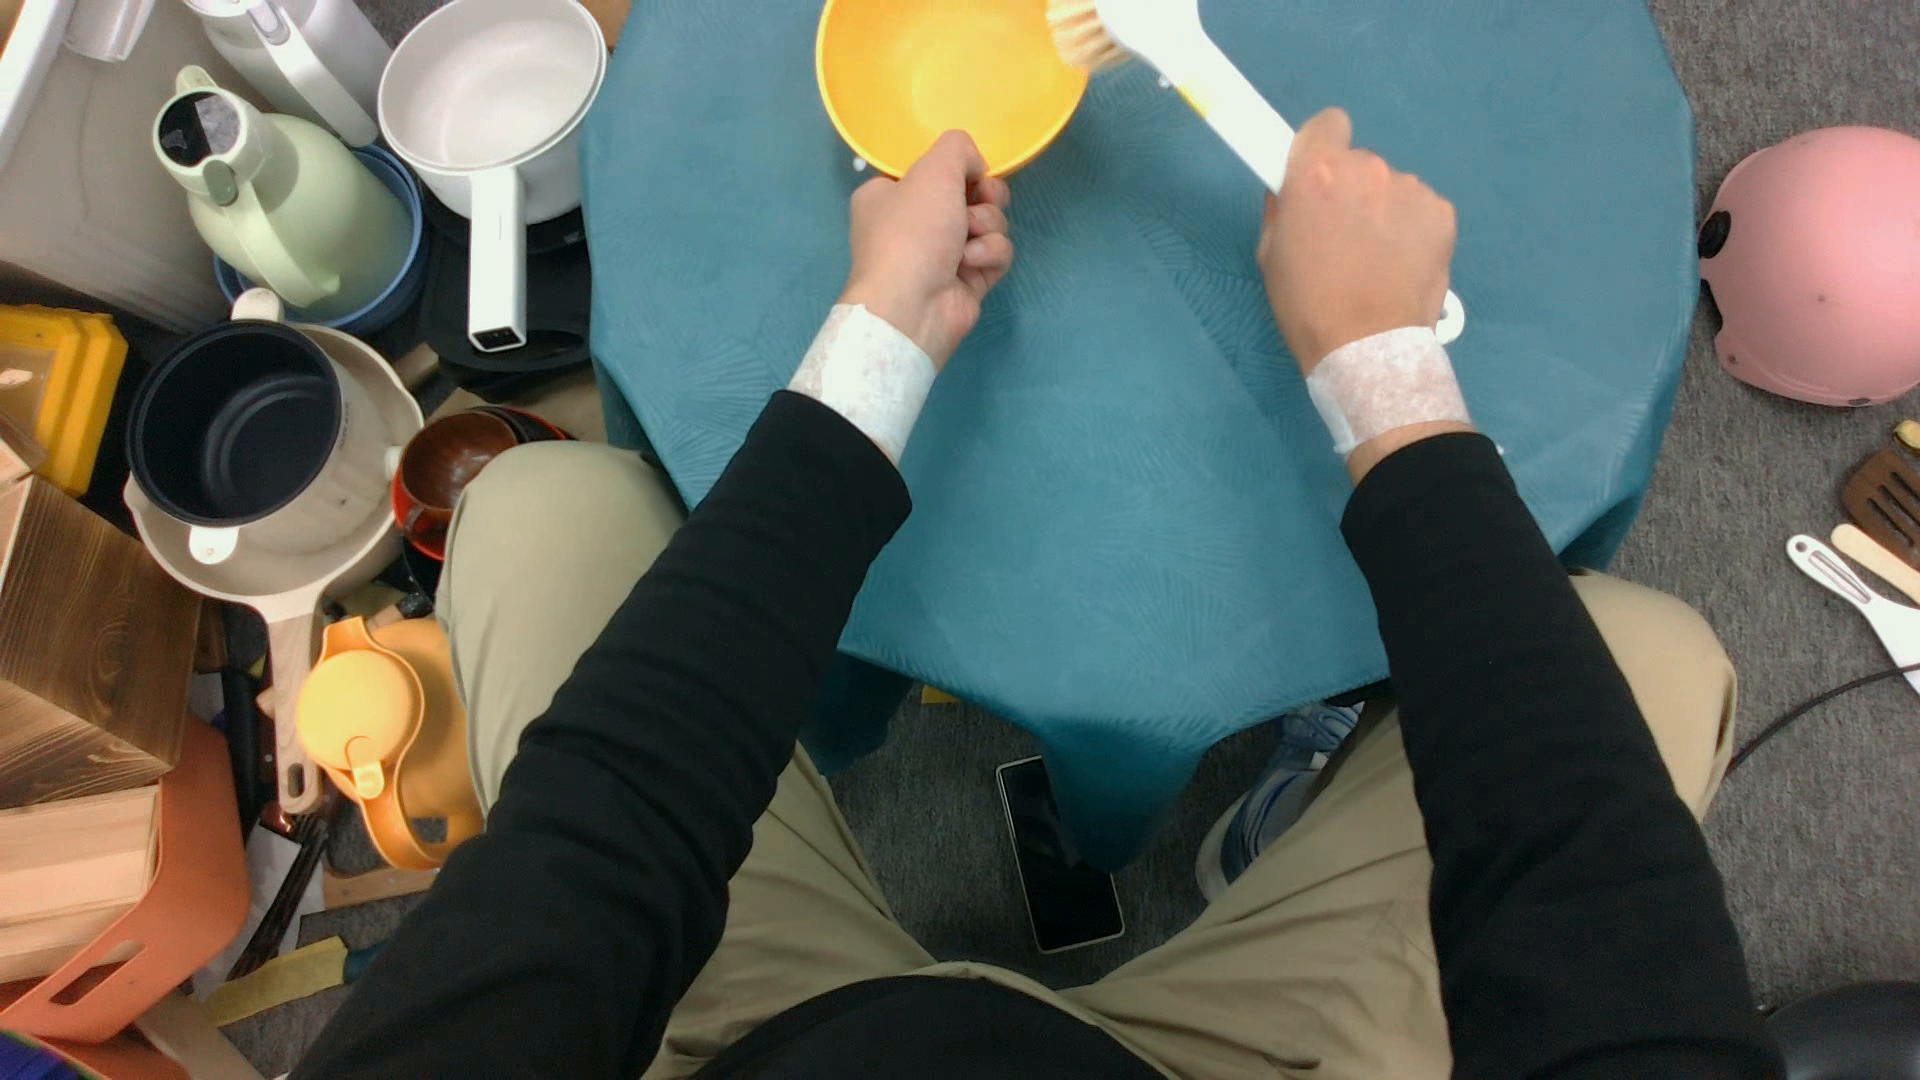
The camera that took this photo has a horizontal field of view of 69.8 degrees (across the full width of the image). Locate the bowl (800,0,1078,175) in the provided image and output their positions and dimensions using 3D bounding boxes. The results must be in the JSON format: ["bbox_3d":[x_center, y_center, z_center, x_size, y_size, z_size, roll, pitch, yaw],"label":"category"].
[{"bbox_3d":[-0.007,-0.252,0.724,0.145,0.060,0.145,-1,82,10],"label":"bowl"}]

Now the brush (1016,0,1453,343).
[{"bbox_3d":[0.134,-0.187,0.671,0.266,0.056,0.068,42,76,-12],"label":"brush"}]
